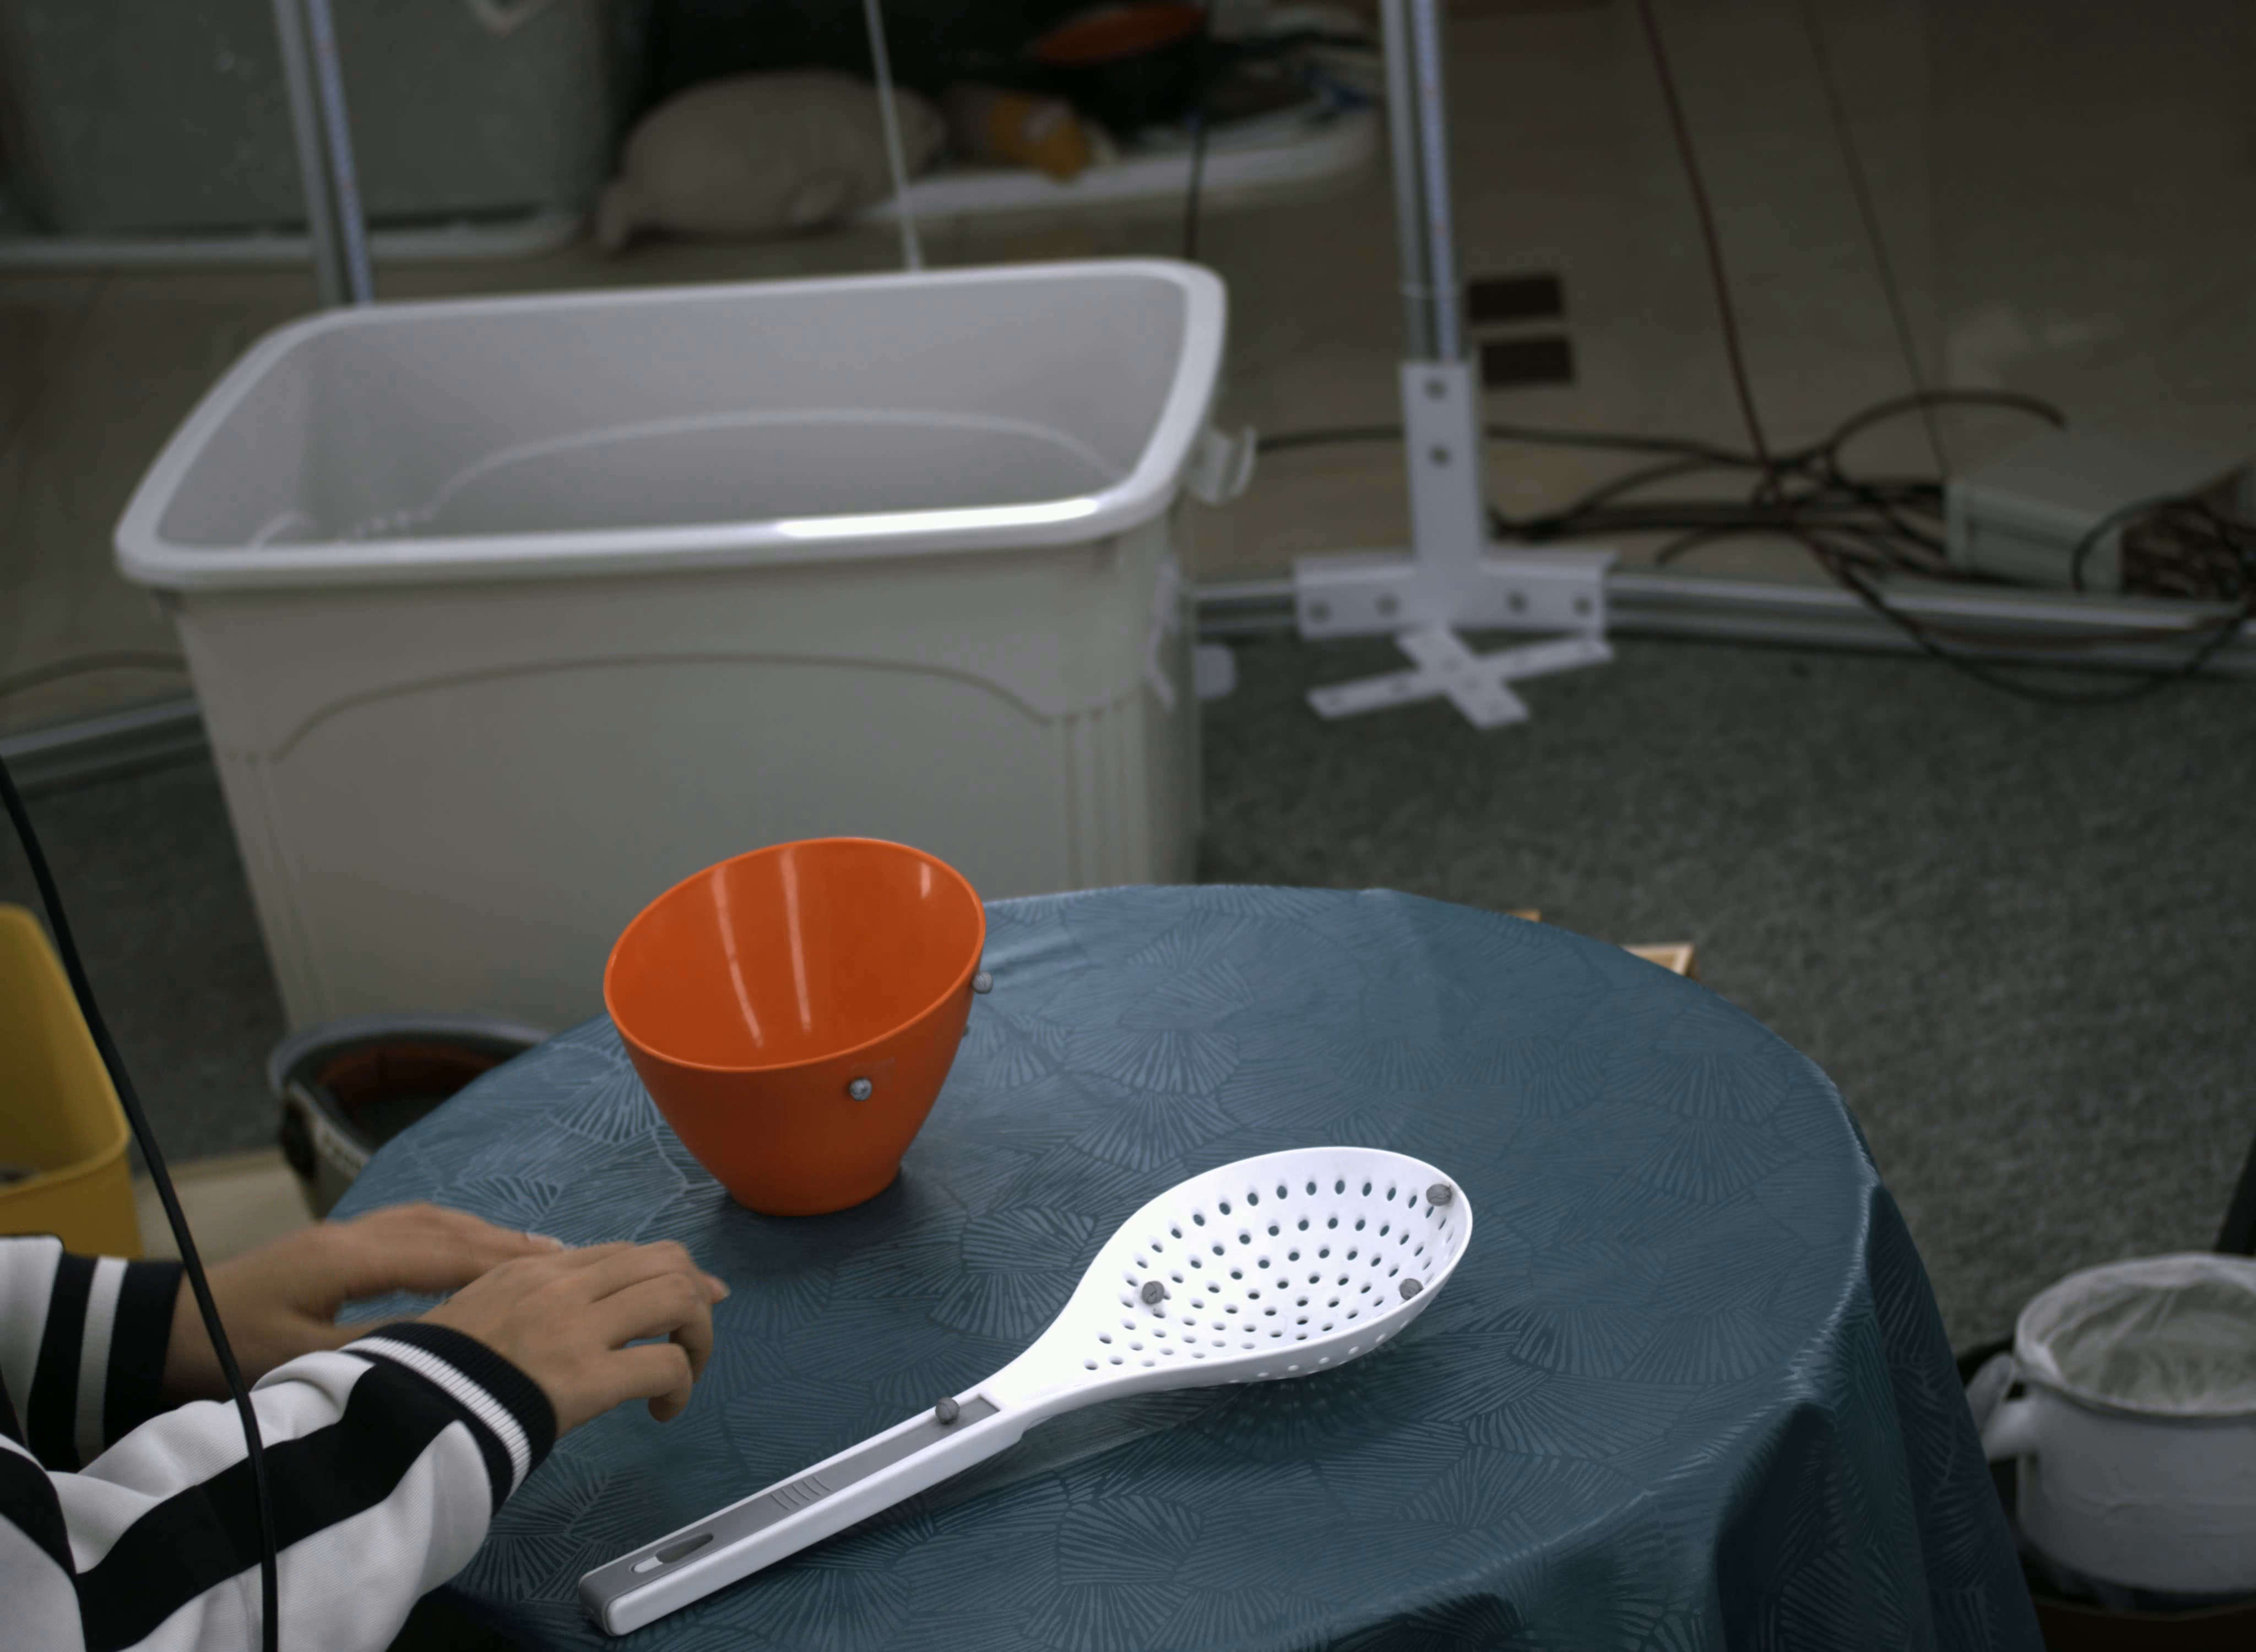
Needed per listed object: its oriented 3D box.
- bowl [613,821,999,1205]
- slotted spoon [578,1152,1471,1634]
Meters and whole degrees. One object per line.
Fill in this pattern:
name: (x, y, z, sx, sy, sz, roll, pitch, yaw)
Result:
bowl: (-0.122, 0.079, 2.173, 0.148, 0.106, 0.145, -1, 30, 0)
slotted spoon: (-0.034, 0.198, 1.976, 0.348, 0.046, 0.134, -20, 26, -25)
